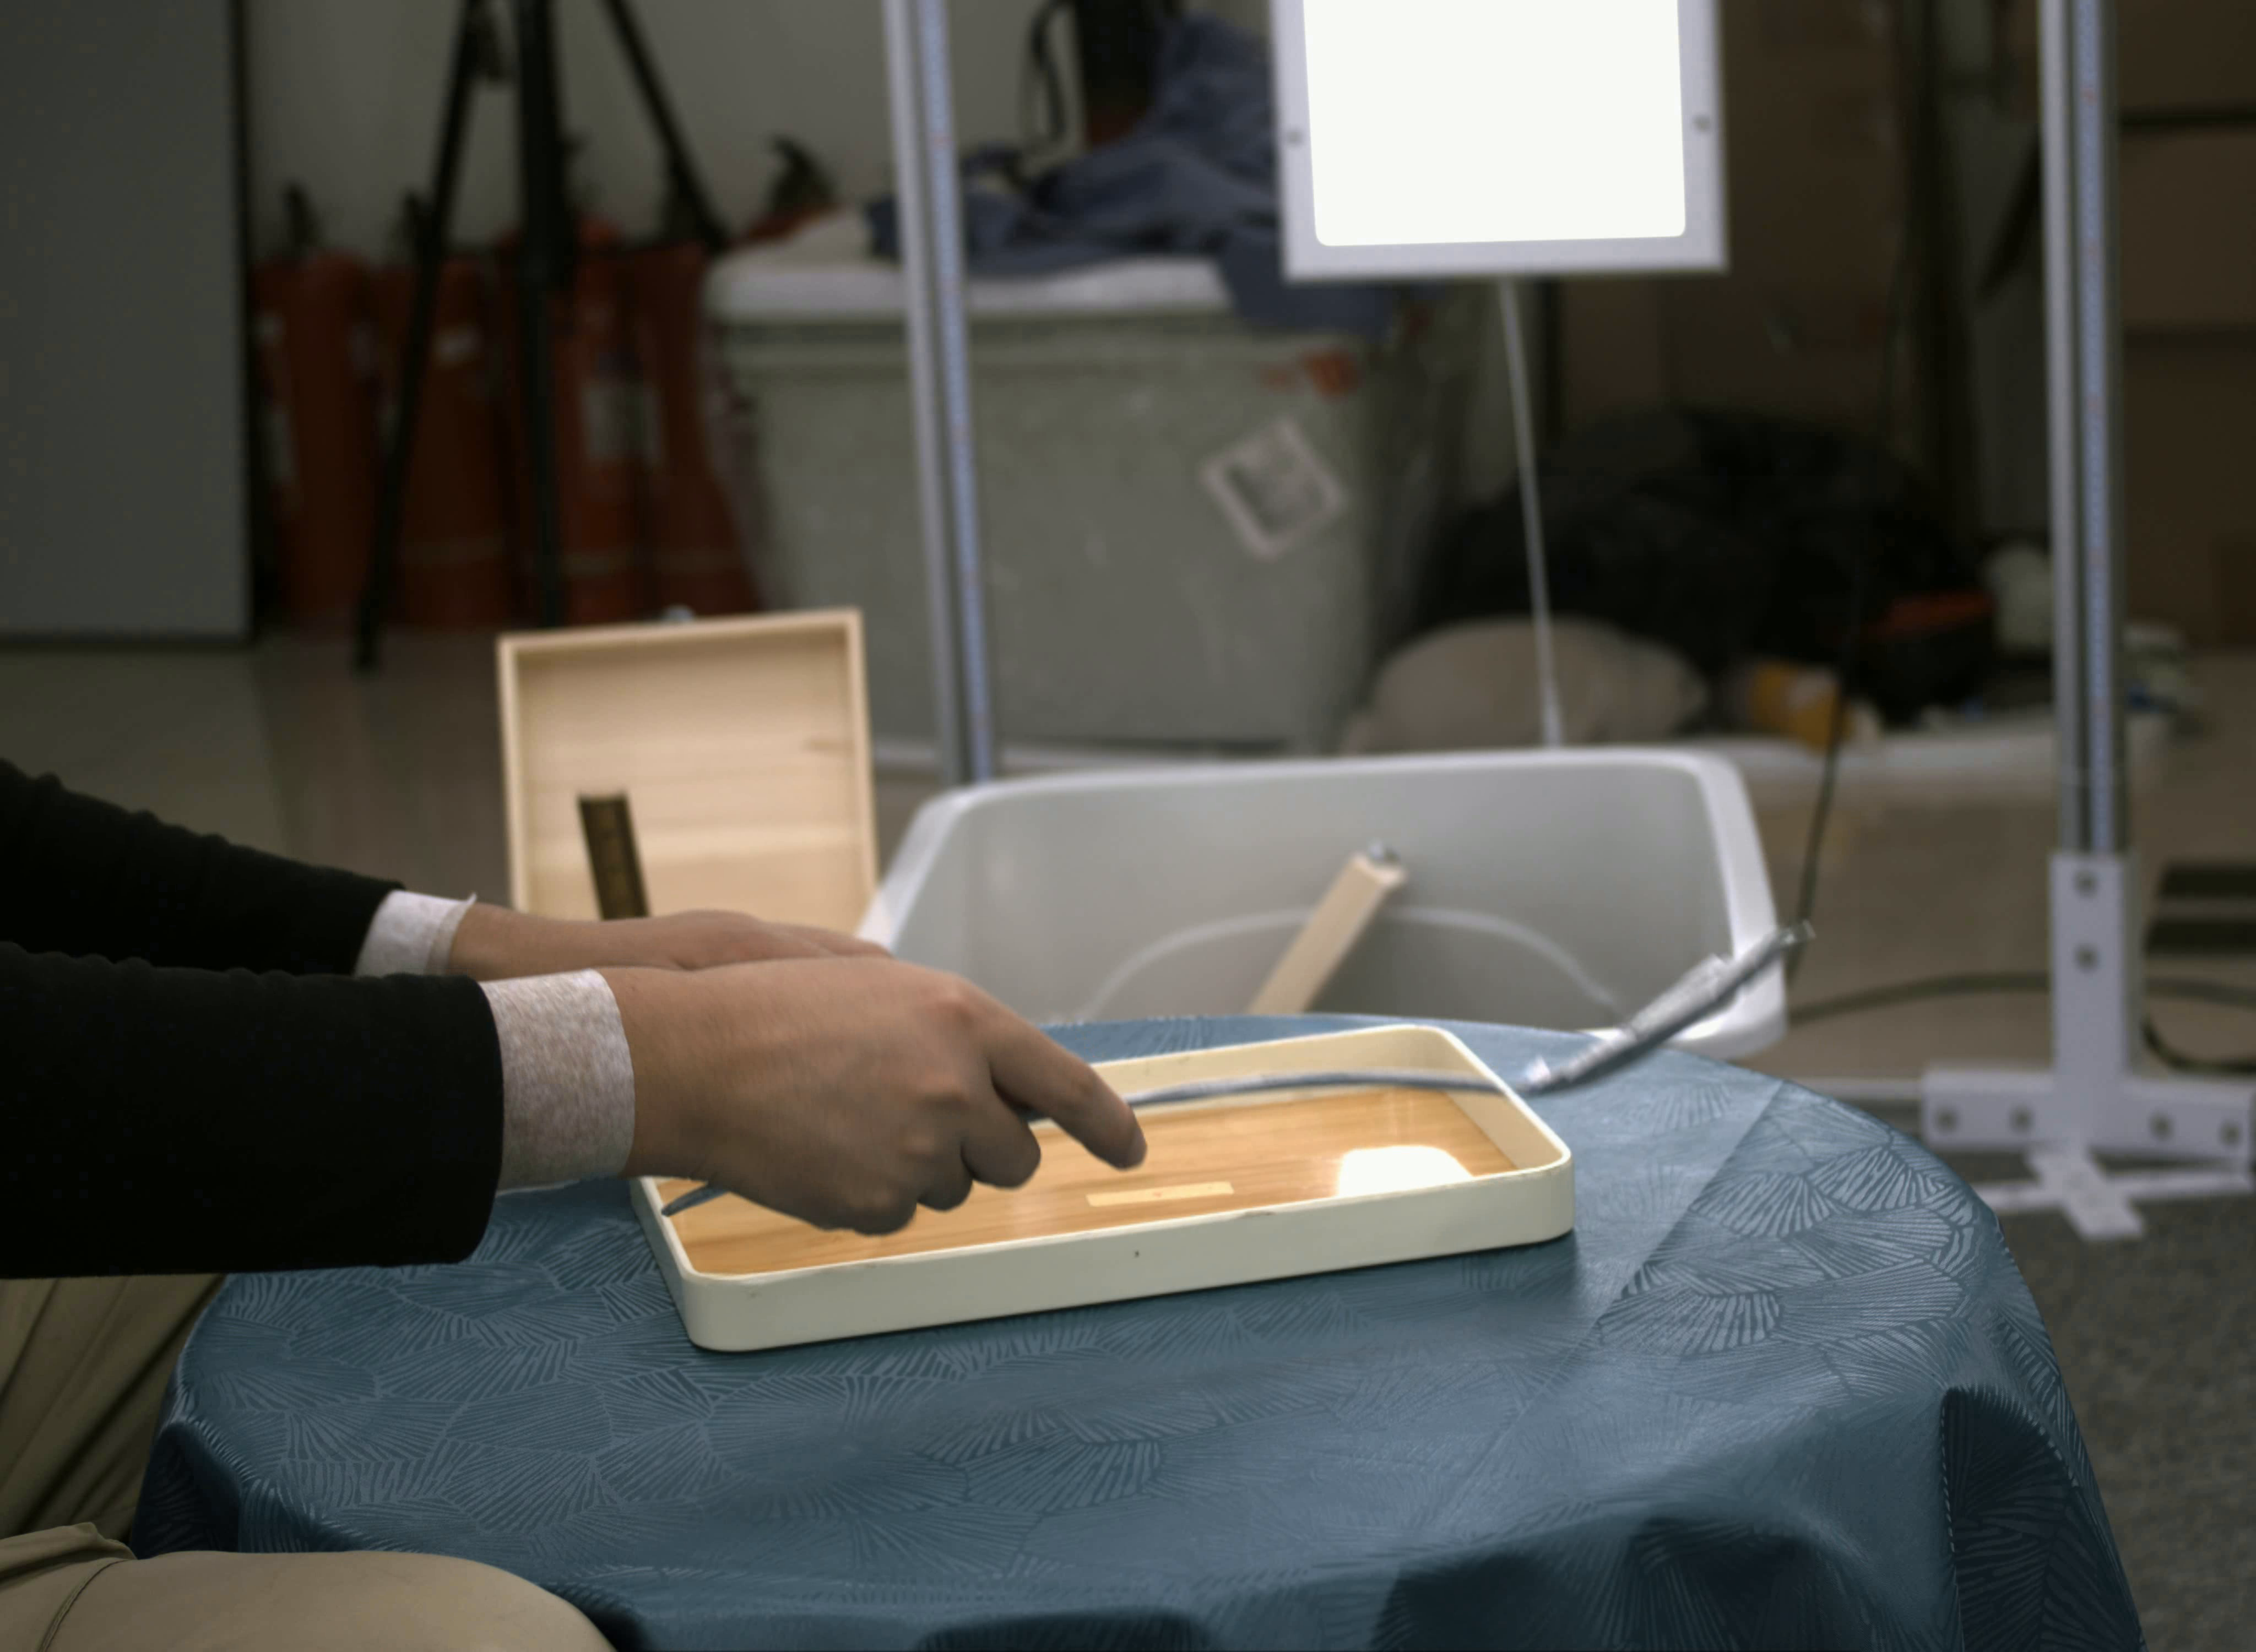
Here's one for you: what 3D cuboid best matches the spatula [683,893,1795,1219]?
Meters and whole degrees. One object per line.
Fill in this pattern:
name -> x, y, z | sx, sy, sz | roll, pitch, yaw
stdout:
spatula -> 0.037, 0.072, 1.704 | 0.360, 0.045, 0.100 | -8, -10, -13

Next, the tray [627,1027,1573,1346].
tray -> -0.013, 0.120, 1.871 | 0.297, 0.027, 0.192 | -7, 13, -8
